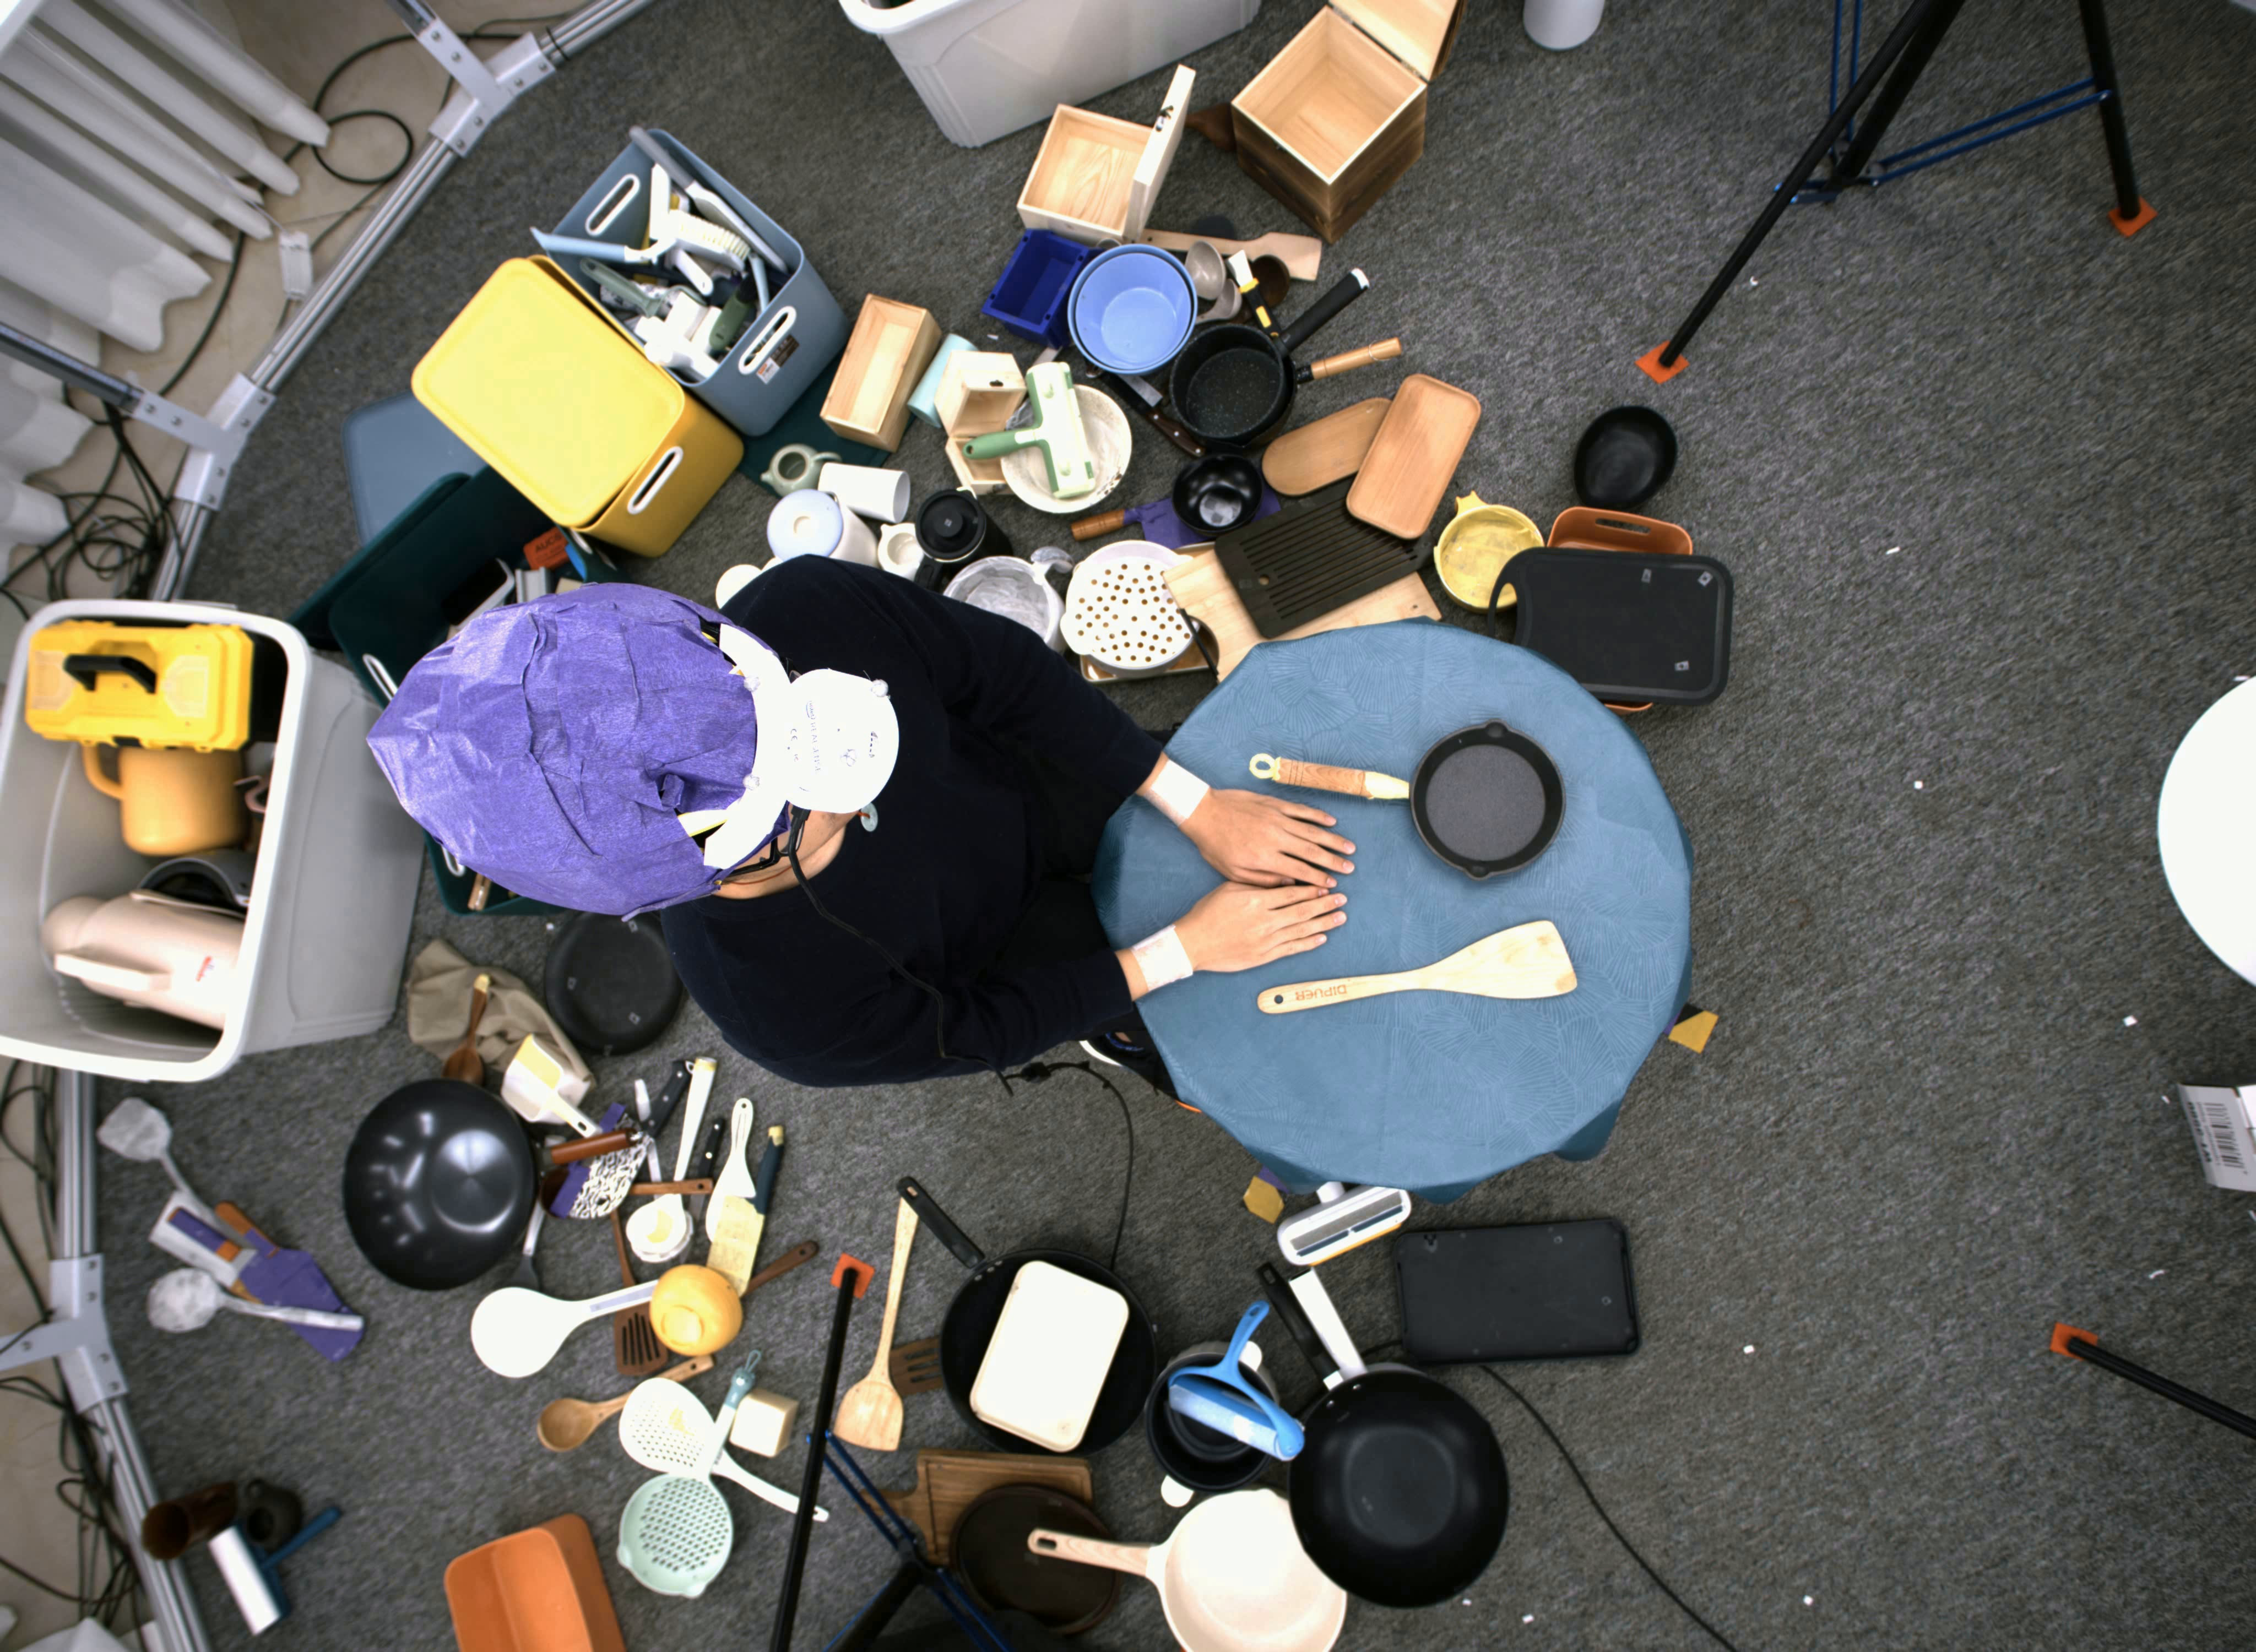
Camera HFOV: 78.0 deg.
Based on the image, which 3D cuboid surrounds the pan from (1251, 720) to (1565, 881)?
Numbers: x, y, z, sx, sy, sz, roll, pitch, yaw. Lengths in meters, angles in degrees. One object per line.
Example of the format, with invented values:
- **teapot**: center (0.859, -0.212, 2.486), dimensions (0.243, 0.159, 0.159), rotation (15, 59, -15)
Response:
- **pan**: center (0.290, -0.042, 1.437), dimensions (0.325, 0.049, 0.168), rotation (10, 89, 9)

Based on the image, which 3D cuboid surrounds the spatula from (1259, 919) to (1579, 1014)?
- **spatula**: center (0.298, 0.157, 1.442), dimensions (0.329, 0.016, 0.079), rotation (-10, 84, 10)
